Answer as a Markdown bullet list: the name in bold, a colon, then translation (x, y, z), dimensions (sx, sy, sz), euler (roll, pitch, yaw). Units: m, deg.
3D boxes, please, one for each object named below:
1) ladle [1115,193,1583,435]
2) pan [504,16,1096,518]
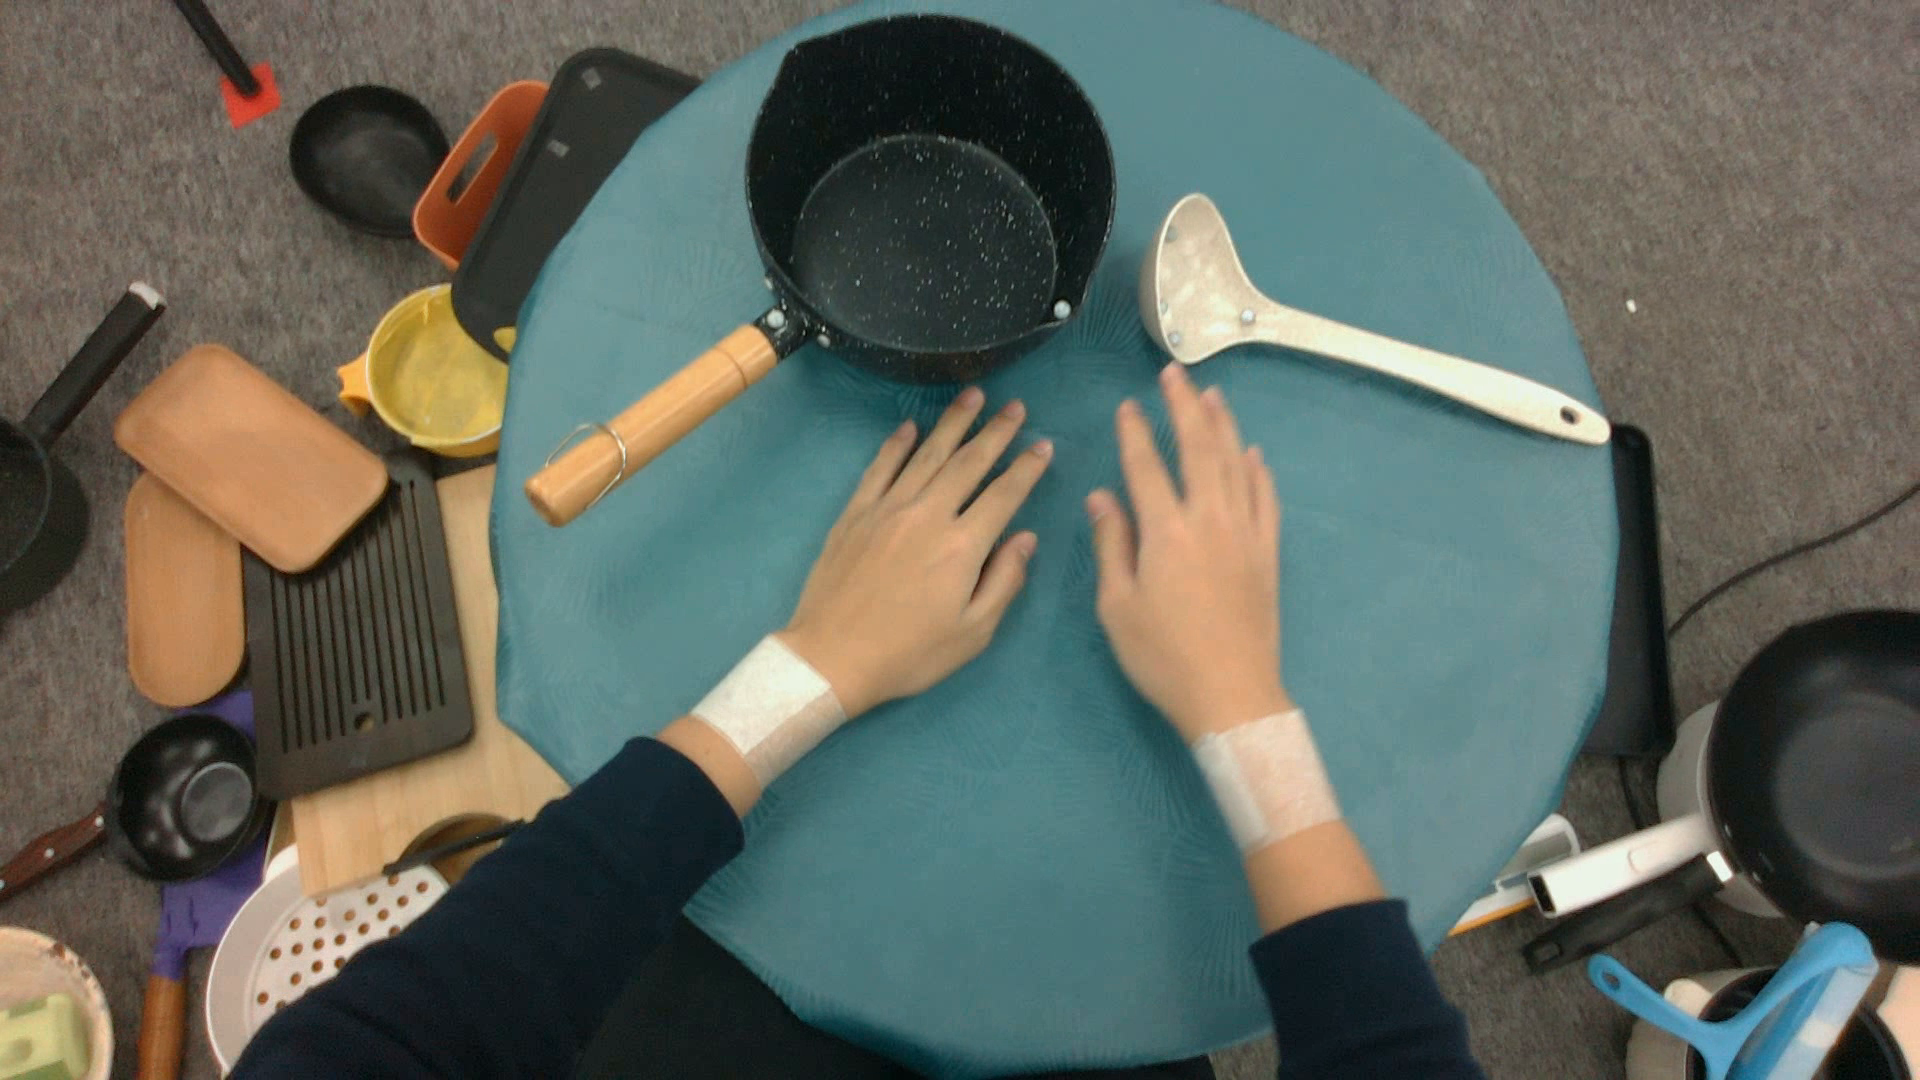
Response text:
- **ladle**: translation (0.216, -0.112, 0.735), dimensions (0.275, 0.069, 0.089), euler (16, 68, 0)
- **pan**: translation (-0.080, -0.117, 0.690), dimensions (0.207, 0.108, 0.344), euler (42, 73, 6)
